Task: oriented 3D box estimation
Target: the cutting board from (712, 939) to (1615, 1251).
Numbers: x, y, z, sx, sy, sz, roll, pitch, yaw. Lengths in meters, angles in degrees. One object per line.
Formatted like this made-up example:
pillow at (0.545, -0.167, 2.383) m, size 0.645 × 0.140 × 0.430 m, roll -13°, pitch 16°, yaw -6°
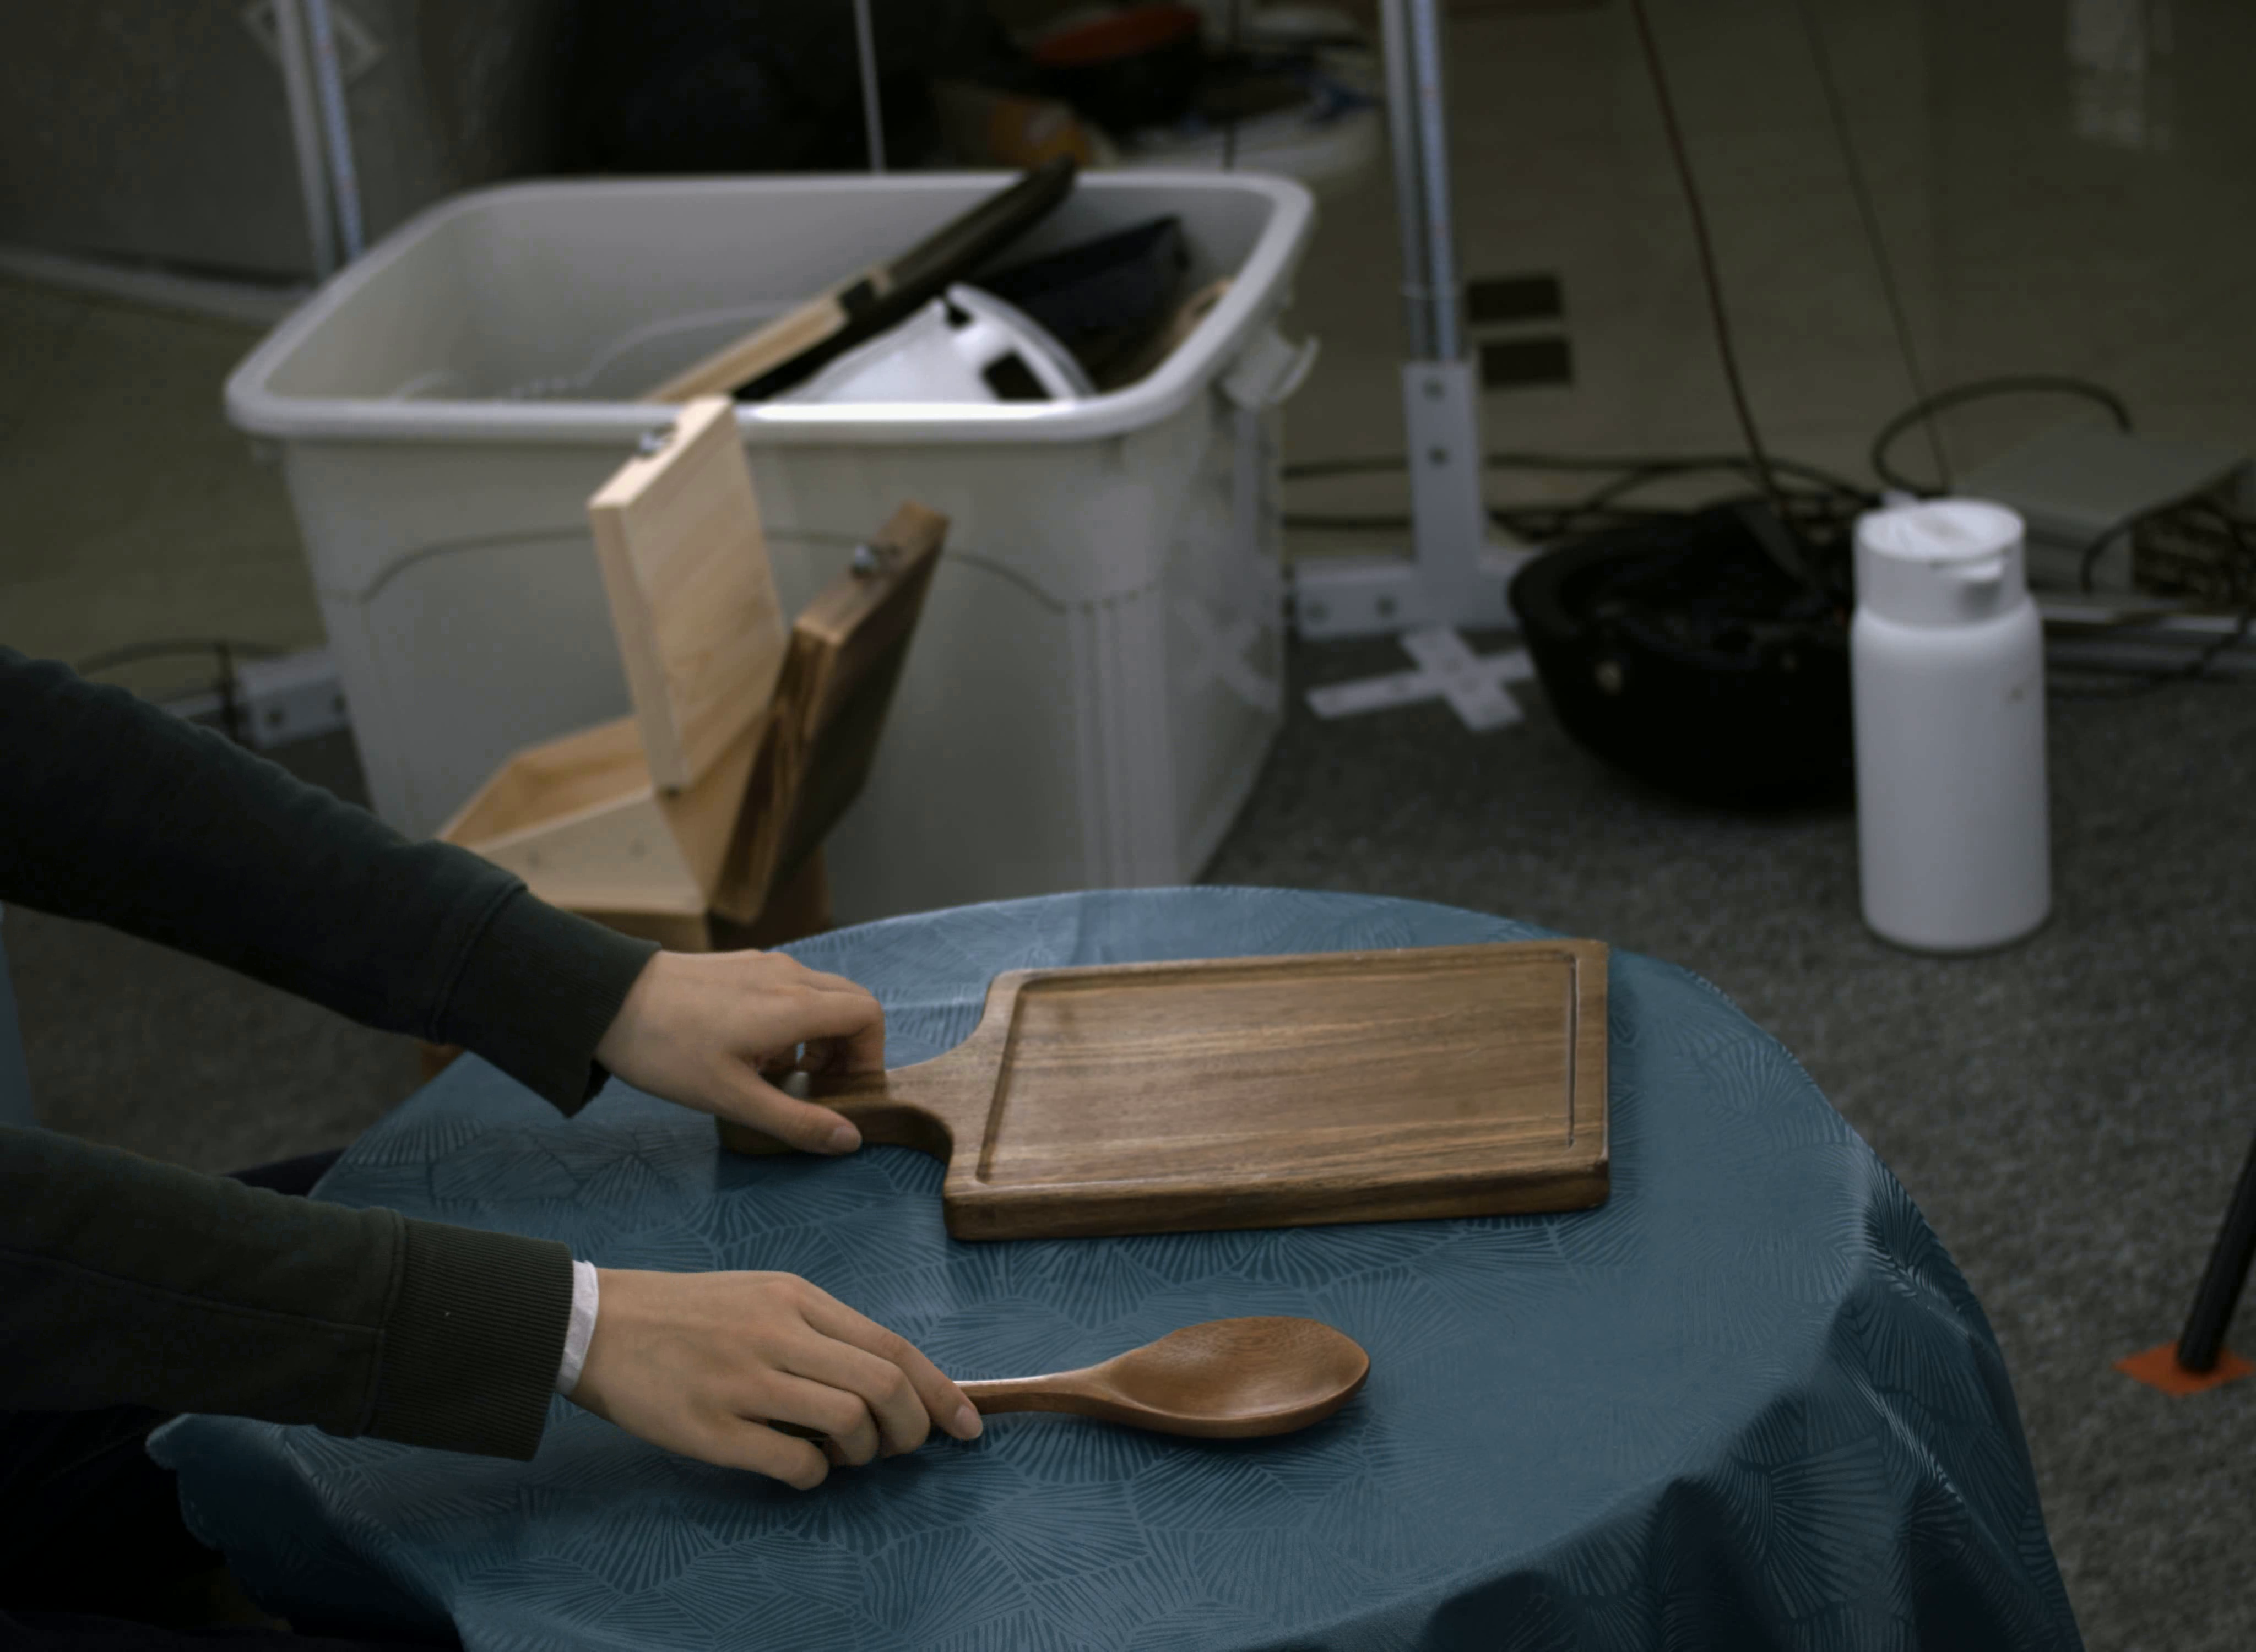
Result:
cutting board at (0.013, 0.105, 2.202) m, size 0.351 × 0.023 × 0.198 m, roll -4°, pitch 26°, yaw 7°

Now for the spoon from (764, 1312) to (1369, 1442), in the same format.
spoon at (-0.022, 0.200, 2.006) m, size 0.215 × 0.017 × 0.074 m, roll -3°, pitch 27°, yaw 5°
